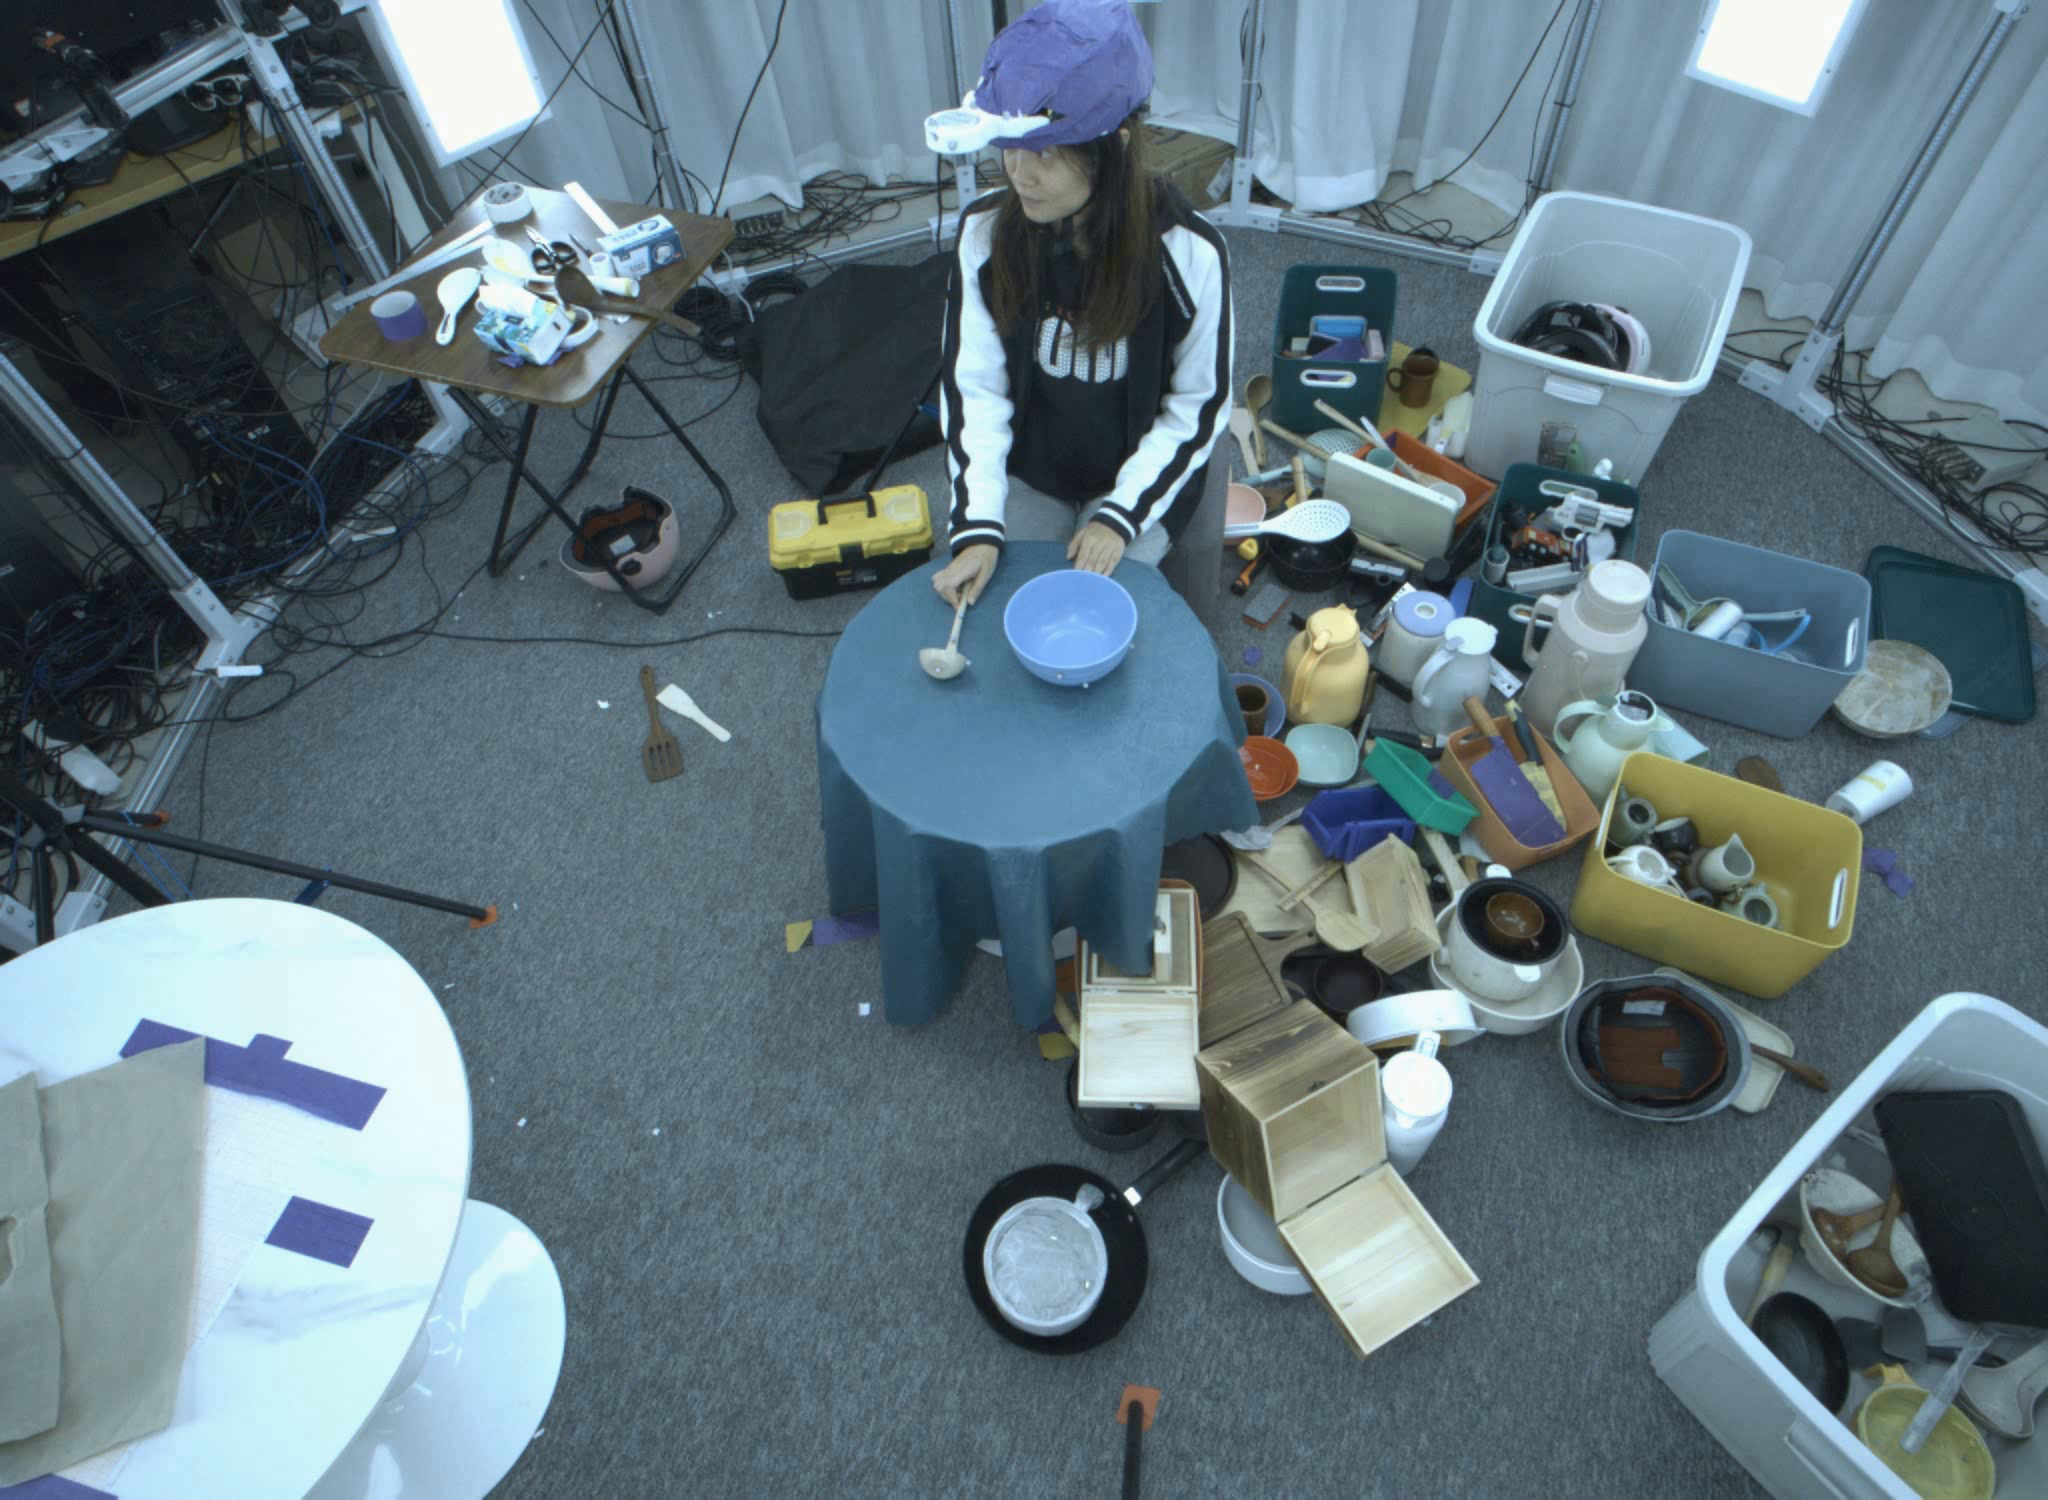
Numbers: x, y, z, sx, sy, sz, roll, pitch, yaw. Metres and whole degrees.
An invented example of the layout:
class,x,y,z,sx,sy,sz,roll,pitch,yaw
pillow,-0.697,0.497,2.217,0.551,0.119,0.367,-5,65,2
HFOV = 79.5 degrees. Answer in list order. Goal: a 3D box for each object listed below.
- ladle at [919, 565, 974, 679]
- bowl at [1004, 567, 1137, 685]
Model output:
class,x,y,z,sx,sy,sz,roll,pitch,yaw
ladle,-0.109,-0.220,1.900,0.072,0.073,0.252,4,56,8
bowl,0.070,-0.171,1.846,0.196,0.096,0.194,0,57,2
